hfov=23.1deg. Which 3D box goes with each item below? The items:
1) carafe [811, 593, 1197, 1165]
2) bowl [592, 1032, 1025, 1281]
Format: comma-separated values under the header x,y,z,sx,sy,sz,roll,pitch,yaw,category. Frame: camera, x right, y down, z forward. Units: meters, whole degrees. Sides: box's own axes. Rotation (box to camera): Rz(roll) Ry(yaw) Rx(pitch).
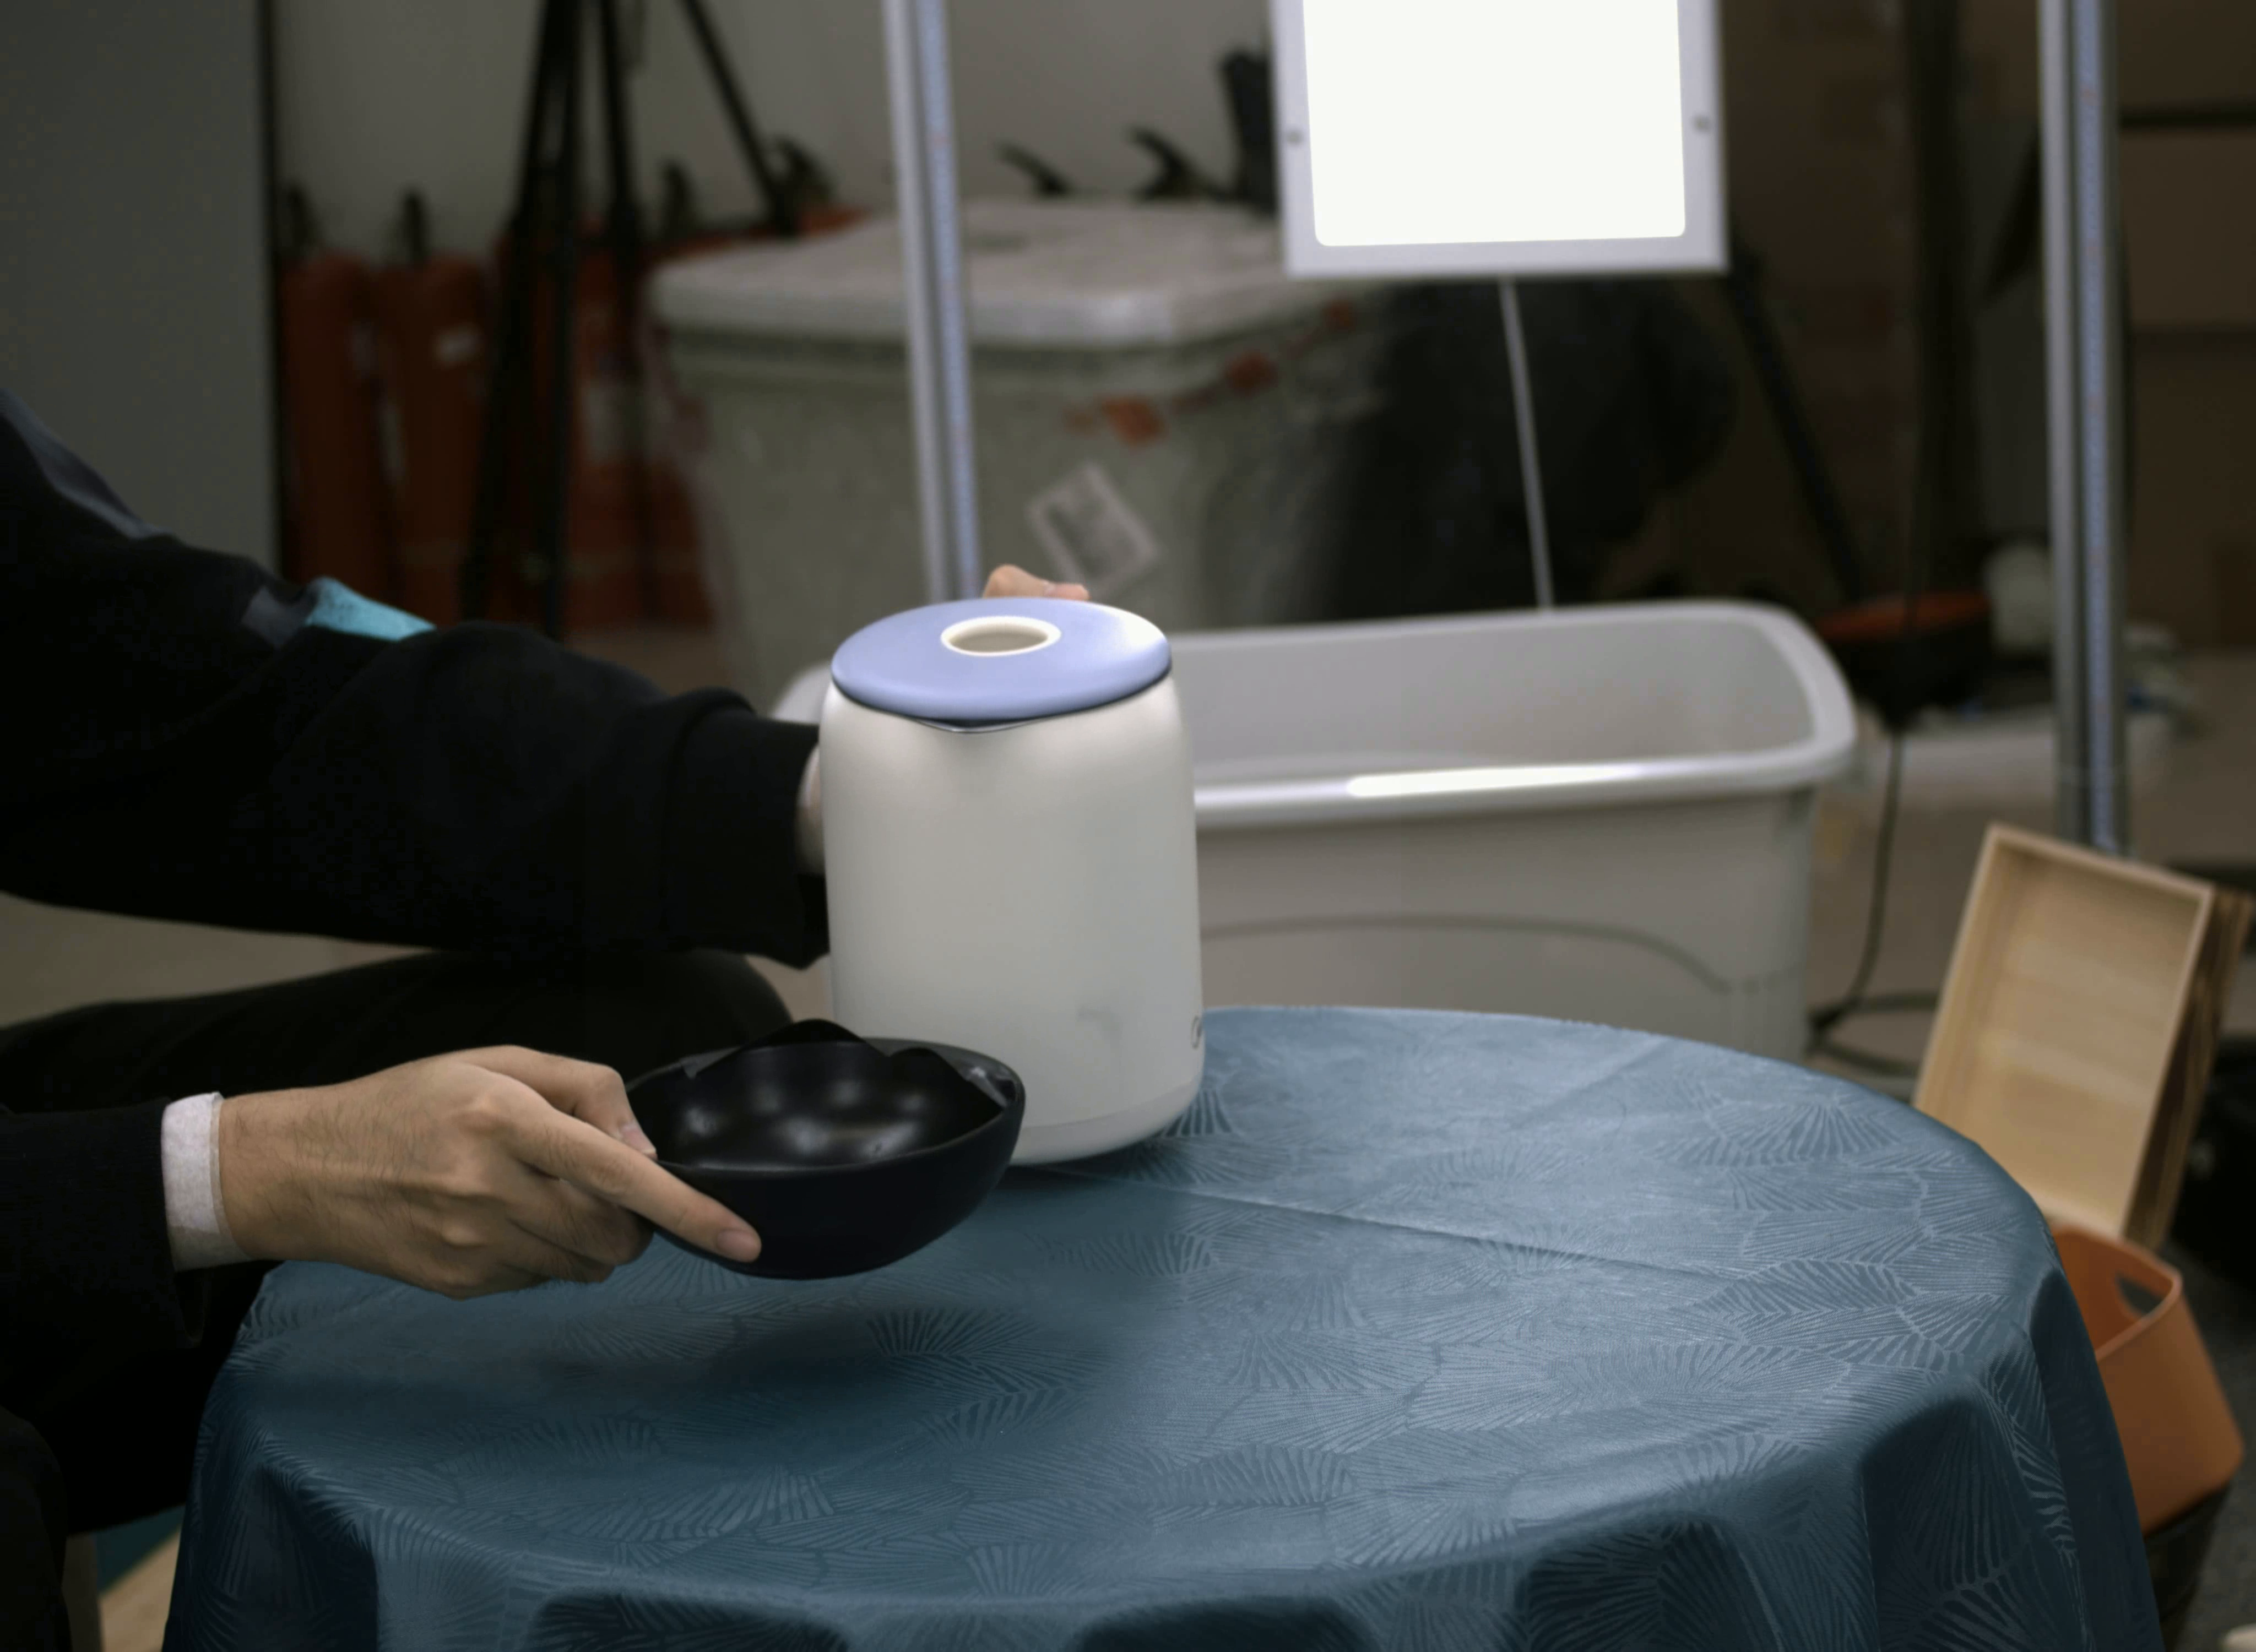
x,y,z,sx,sy,sz,roll,pitch,yaw,category
-0.040,0.010,1.951,0.133,0.183,0.189,1,18,7,carafe
-0.100,0.110,1.764,0.140,0.050,0.140,-7,15,1,bowl
